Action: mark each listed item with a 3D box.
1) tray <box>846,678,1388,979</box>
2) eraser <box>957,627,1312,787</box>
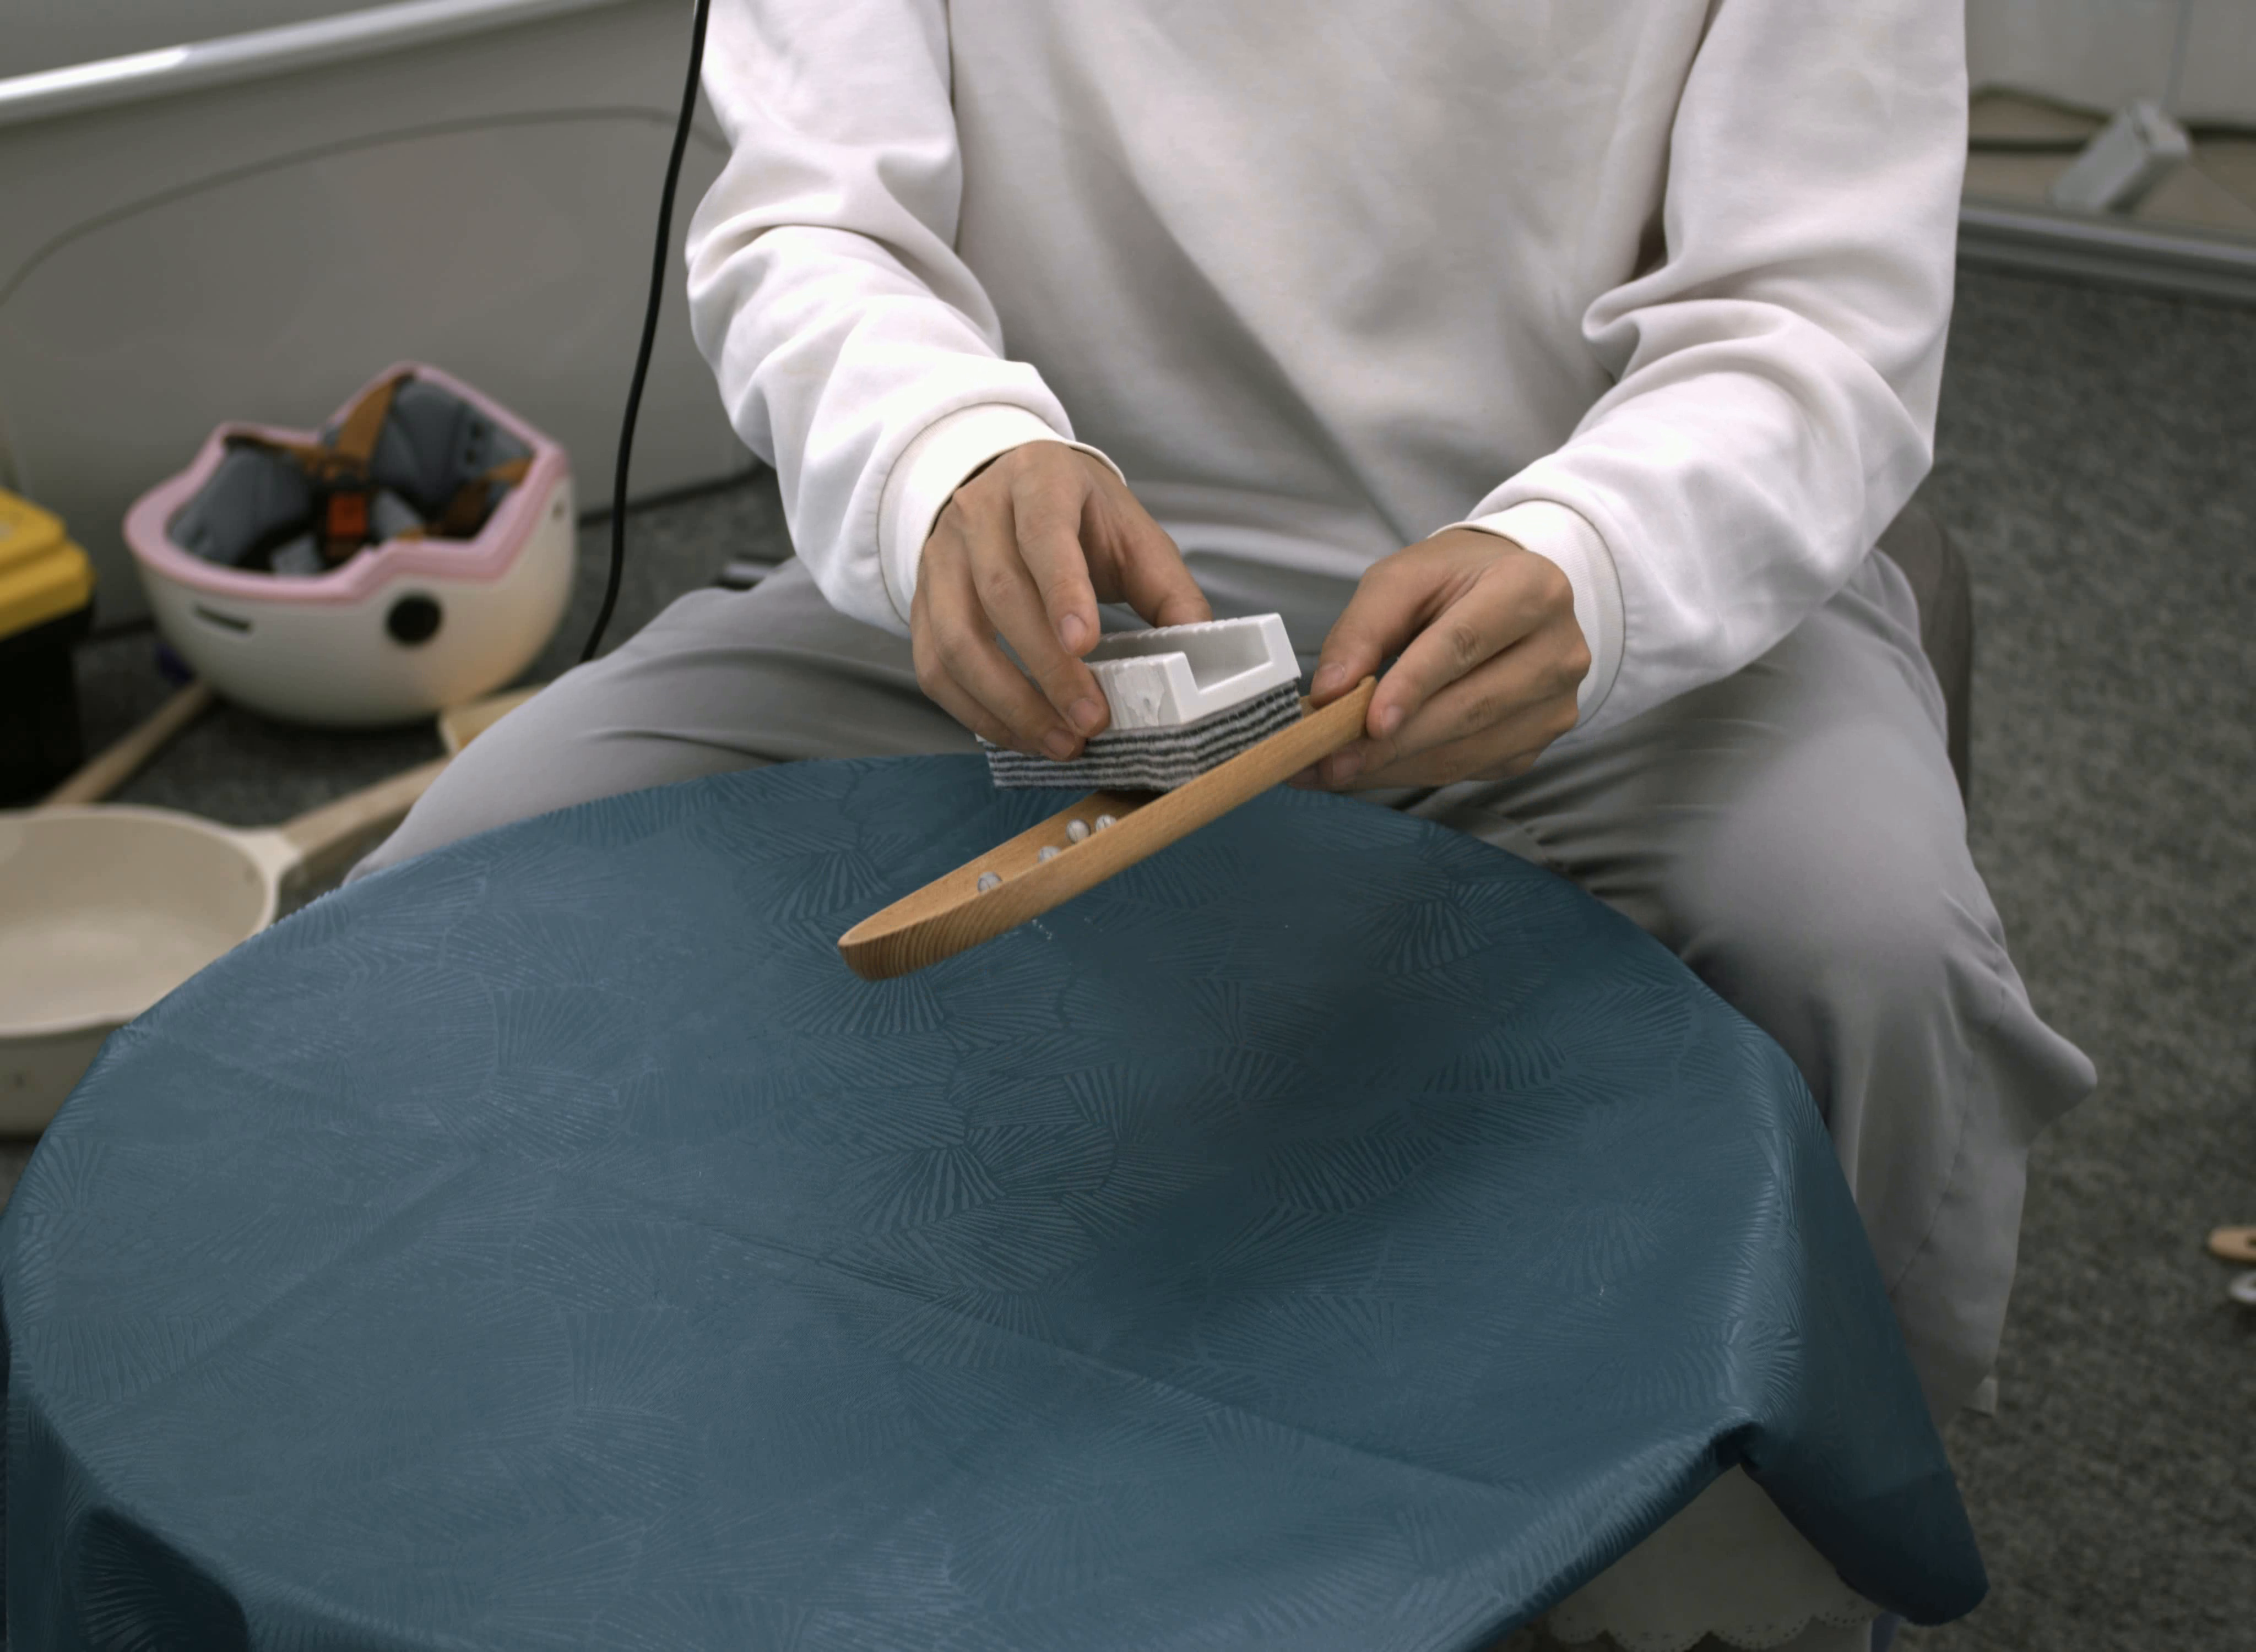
[{"bbox_3d":[0.000,0.000,1.822,0.100,0.020,0.234,-17,7,44],"label":"tray"},{"bbox_3d":[0.003,-0.040,1.886,0.050,0.046,0.133,-18,10,-34],"label":"eraser"}]
